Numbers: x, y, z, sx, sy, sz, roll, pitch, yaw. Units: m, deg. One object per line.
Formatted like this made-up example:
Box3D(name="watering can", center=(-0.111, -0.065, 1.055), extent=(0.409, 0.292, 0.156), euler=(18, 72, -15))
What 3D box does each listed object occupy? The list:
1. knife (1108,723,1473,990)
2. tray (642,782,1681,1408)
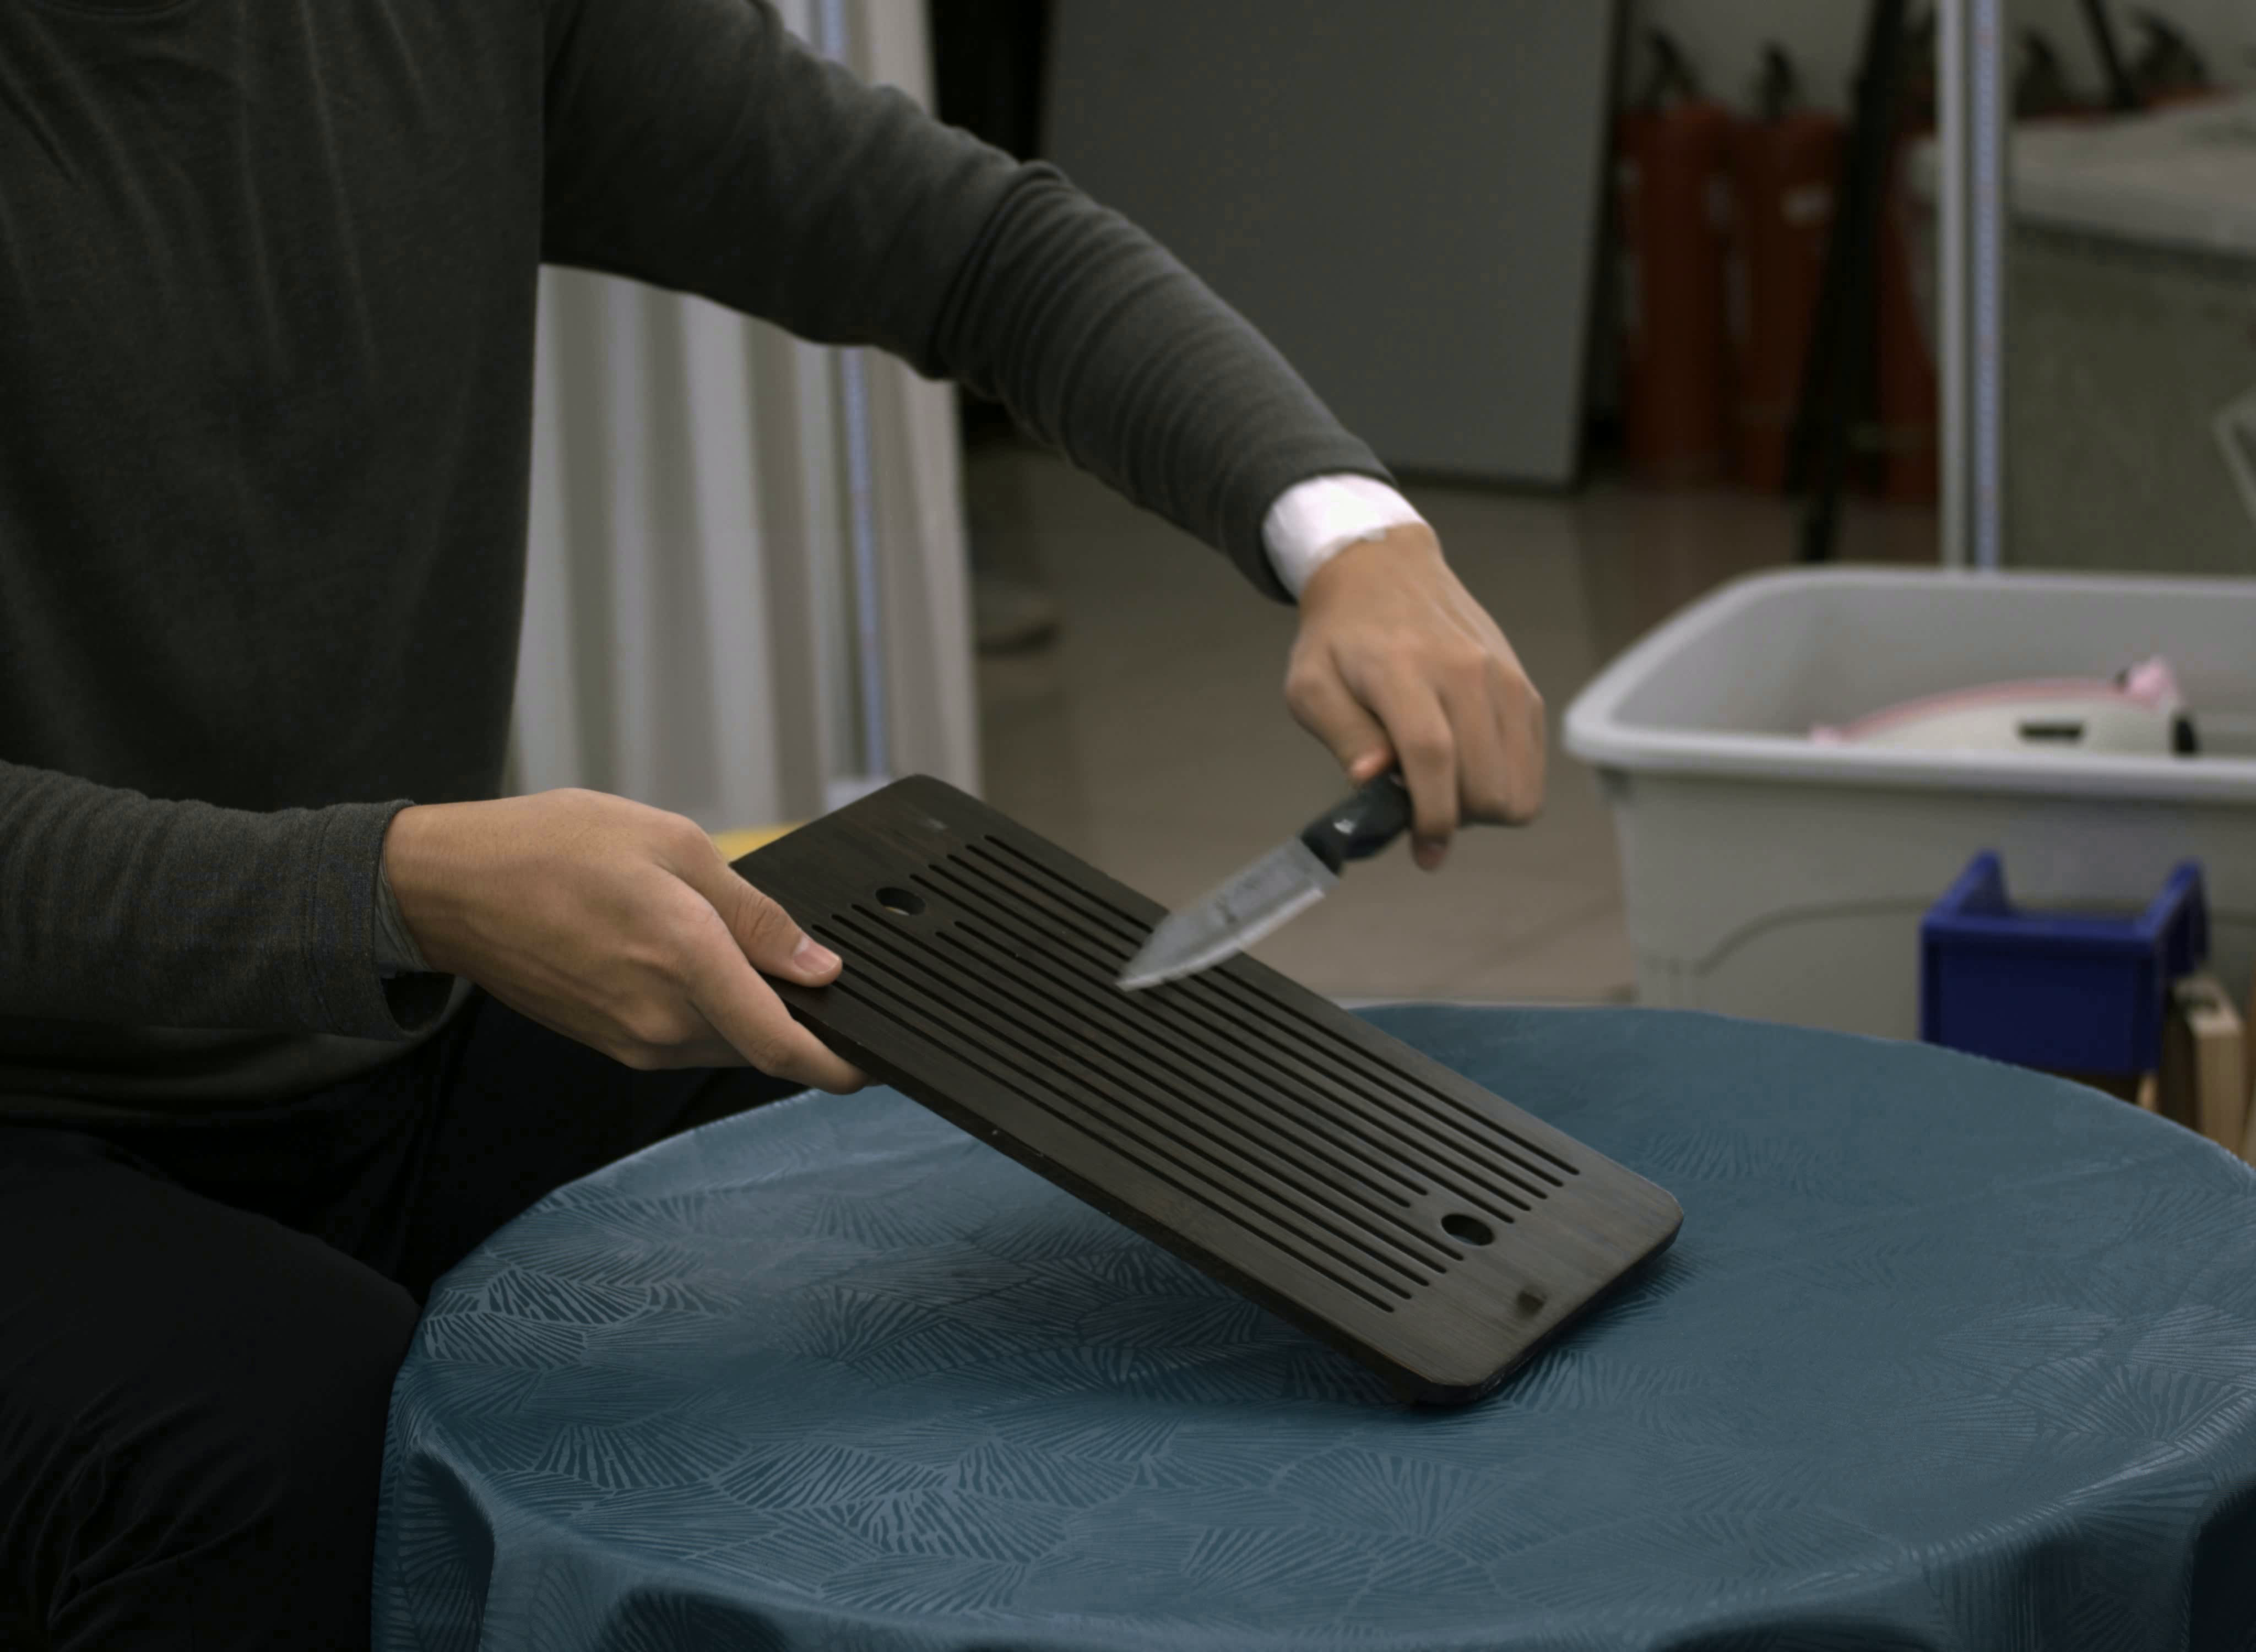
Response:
Box3D(name="knife", center=(0.053, 0.009, 1.789), extent=(0.024, 0.016, 0.235), euler=(43, 37, 11))
Box3D(name="tray", center=(0.010, 0.079, 1.663), extent=(0.307, 0.019, 0.167), euler=(29, 28, 22))
